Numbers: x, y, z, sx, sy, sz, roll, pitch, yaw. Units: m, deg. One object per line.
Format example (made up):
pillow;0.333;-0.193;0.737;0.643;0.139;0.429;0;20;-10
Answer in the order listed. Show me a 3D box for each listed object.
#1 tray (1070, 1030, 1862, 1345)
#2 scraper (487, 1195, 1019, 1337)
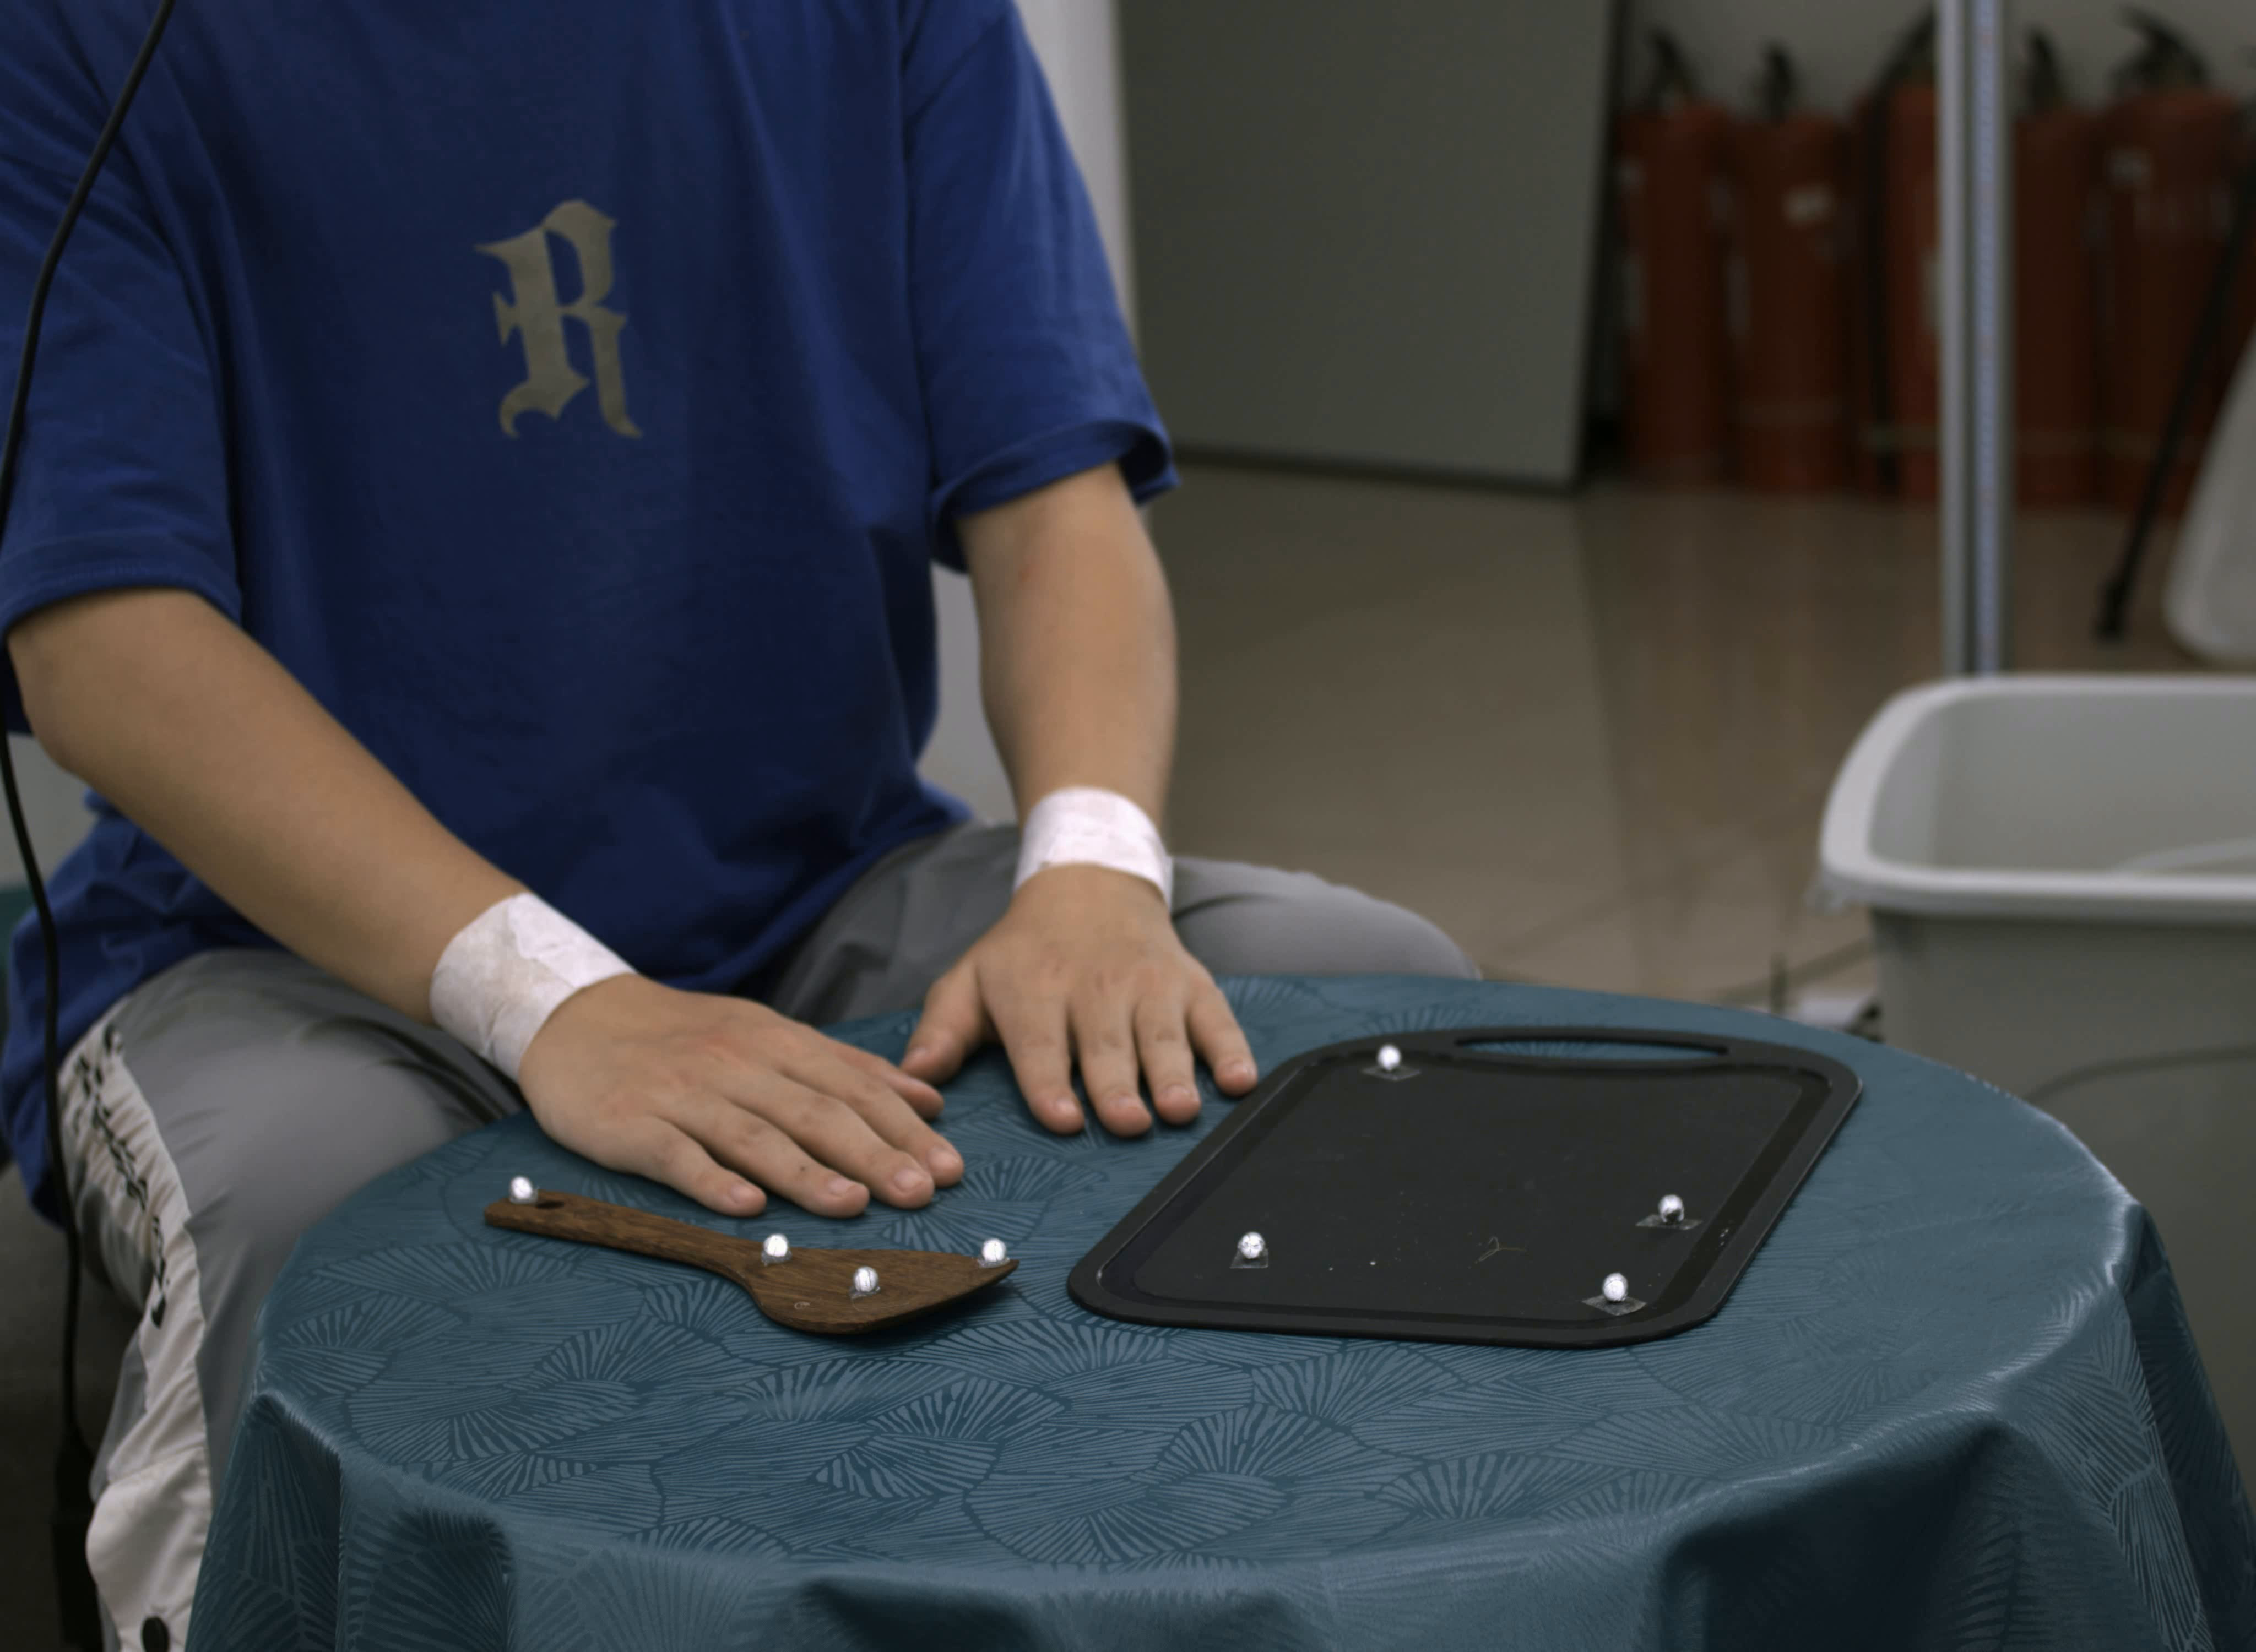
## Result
tray;0.118;0.111;1.764;0.211;0.010;0.322;1;14;20
scraper;-0.128;0.138;1.724;0.213;0.011;0.074;8;18;43
